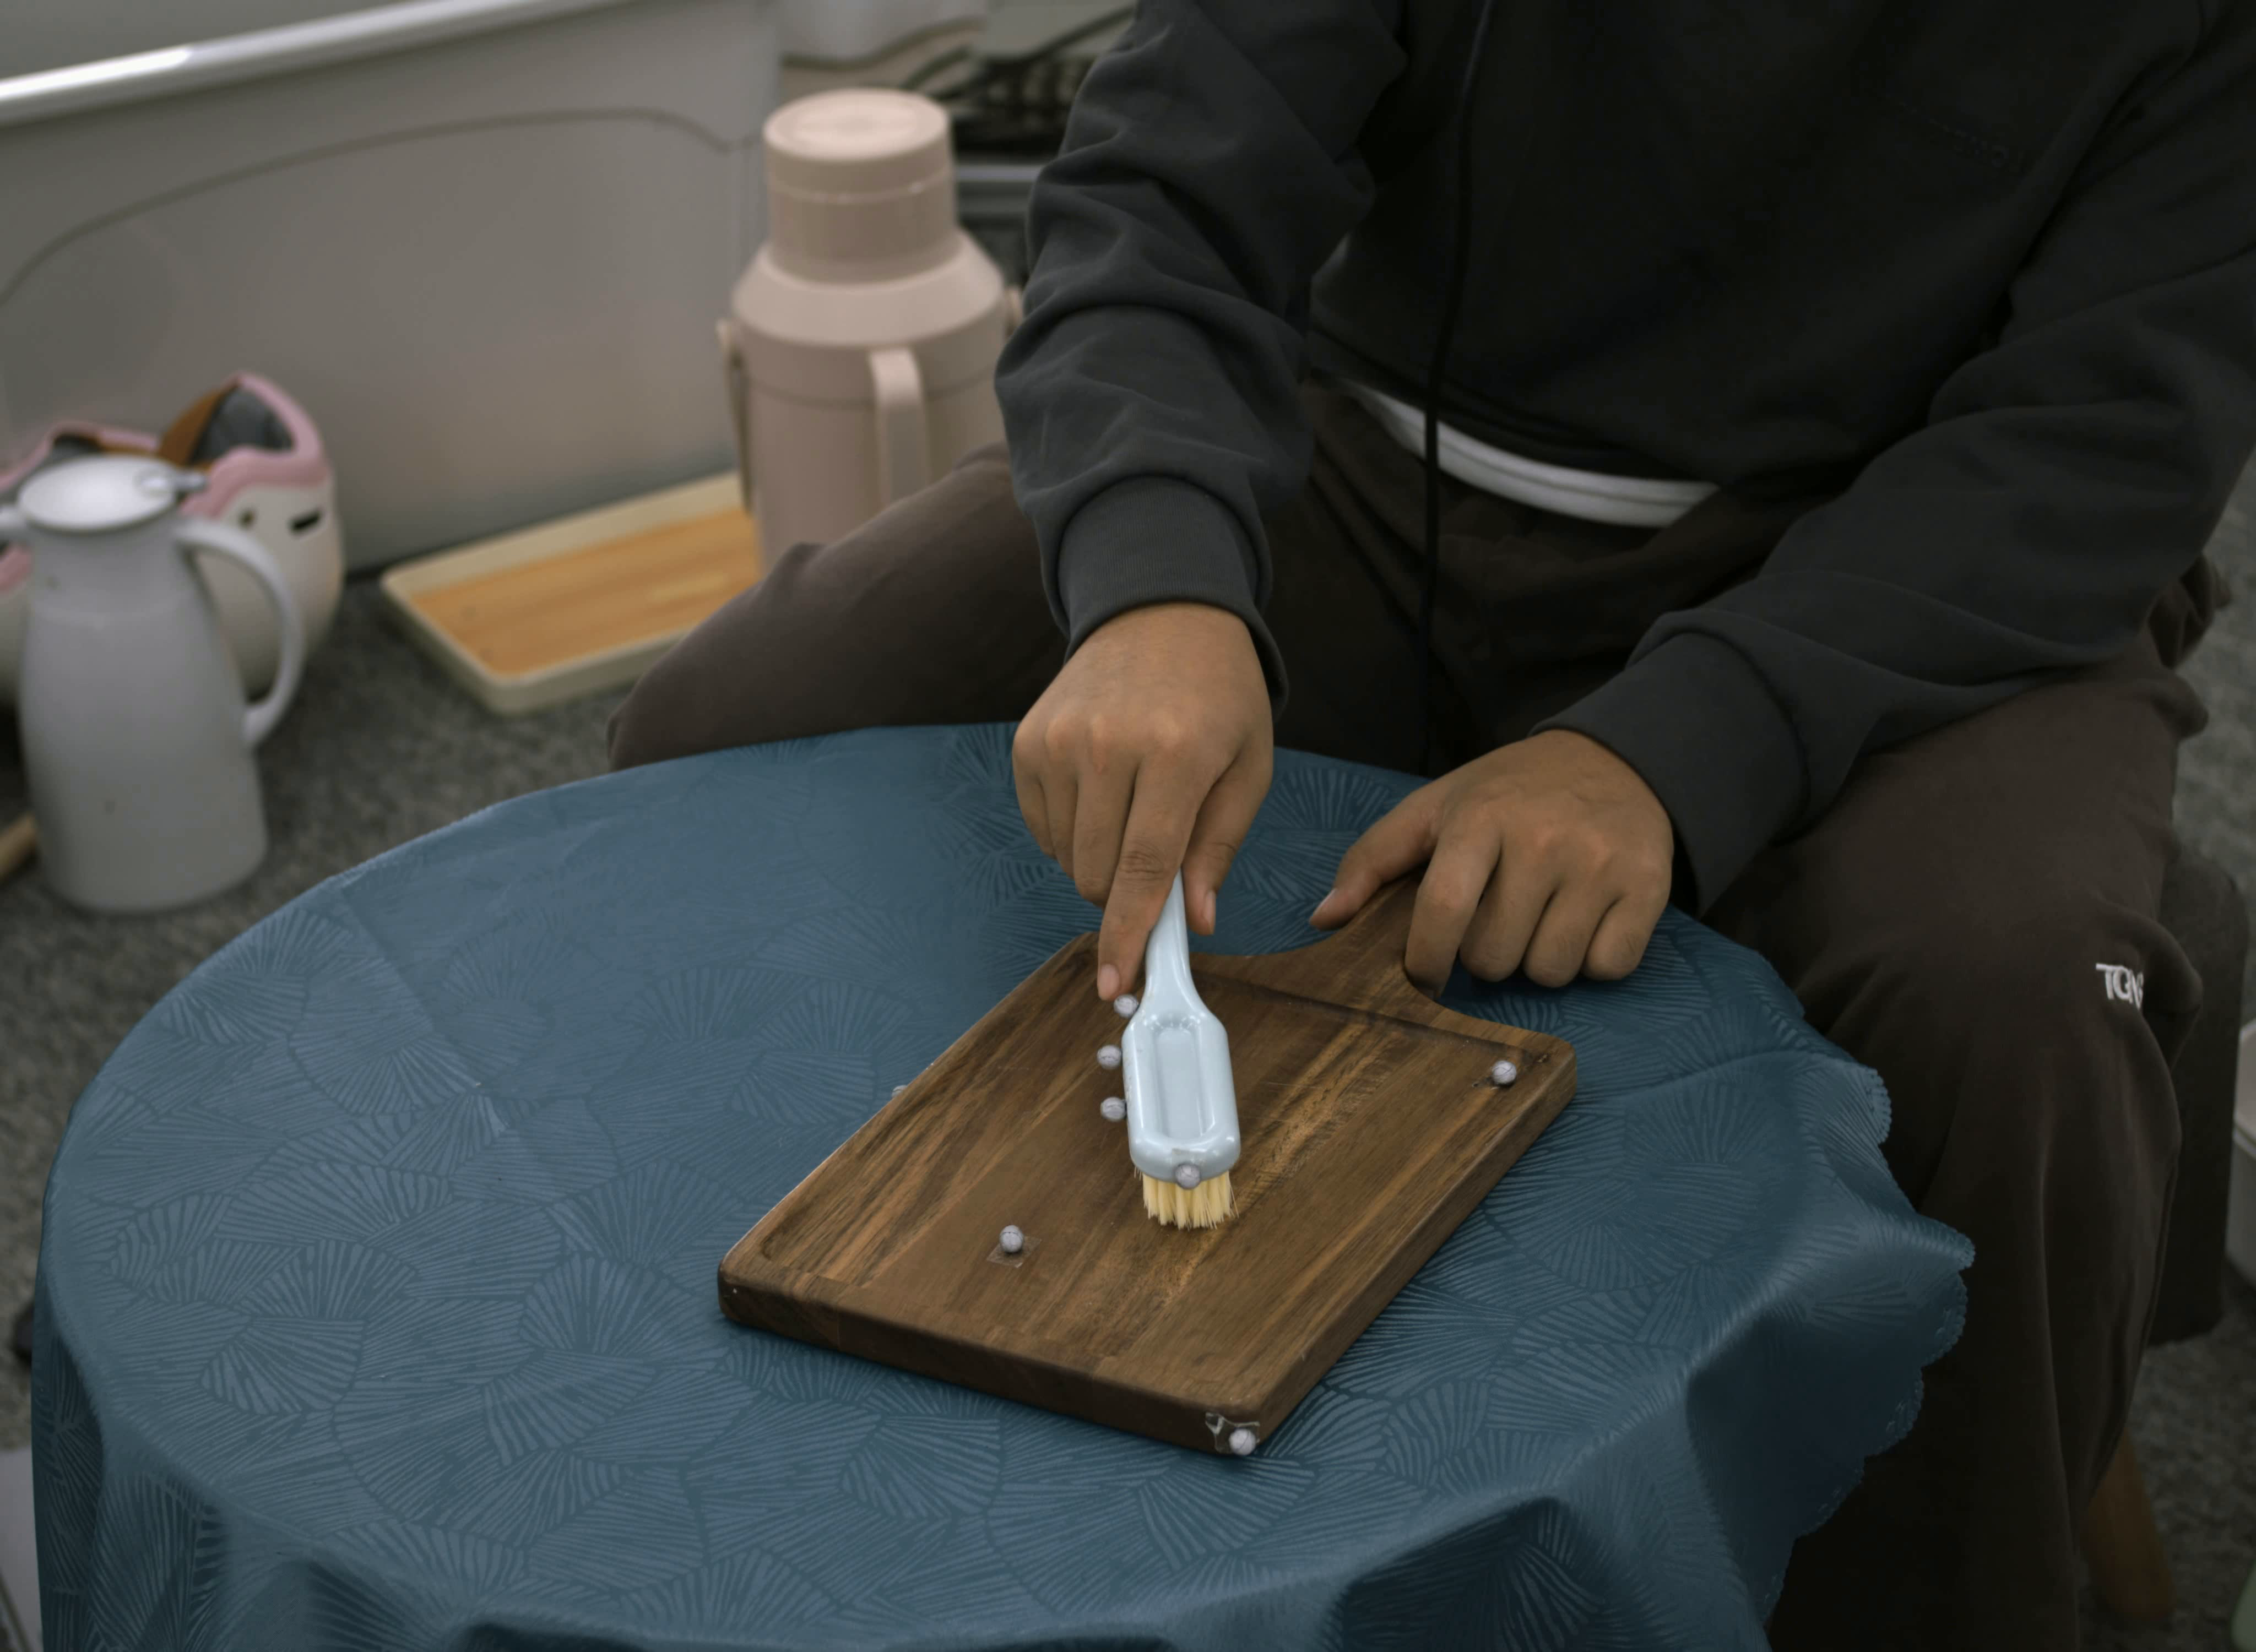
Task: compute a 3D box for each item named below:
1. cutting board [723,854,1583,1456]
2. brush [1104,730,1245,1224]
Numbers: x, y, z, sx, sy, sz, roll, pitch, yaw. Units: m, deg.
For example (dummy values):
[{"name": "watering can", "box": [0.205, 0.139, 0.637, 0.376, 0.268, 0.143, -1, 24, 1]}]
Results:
[{"name": "cutting board", "box": [0.036, 0.094, 1.892, 0.200, 0.023, 0.358, 12, 31, 26]}, {"name": "brush", "box": [0.010, 0.047, 1.895, 0.037, 0.049, 0.233, -6, 42, -3]}]
